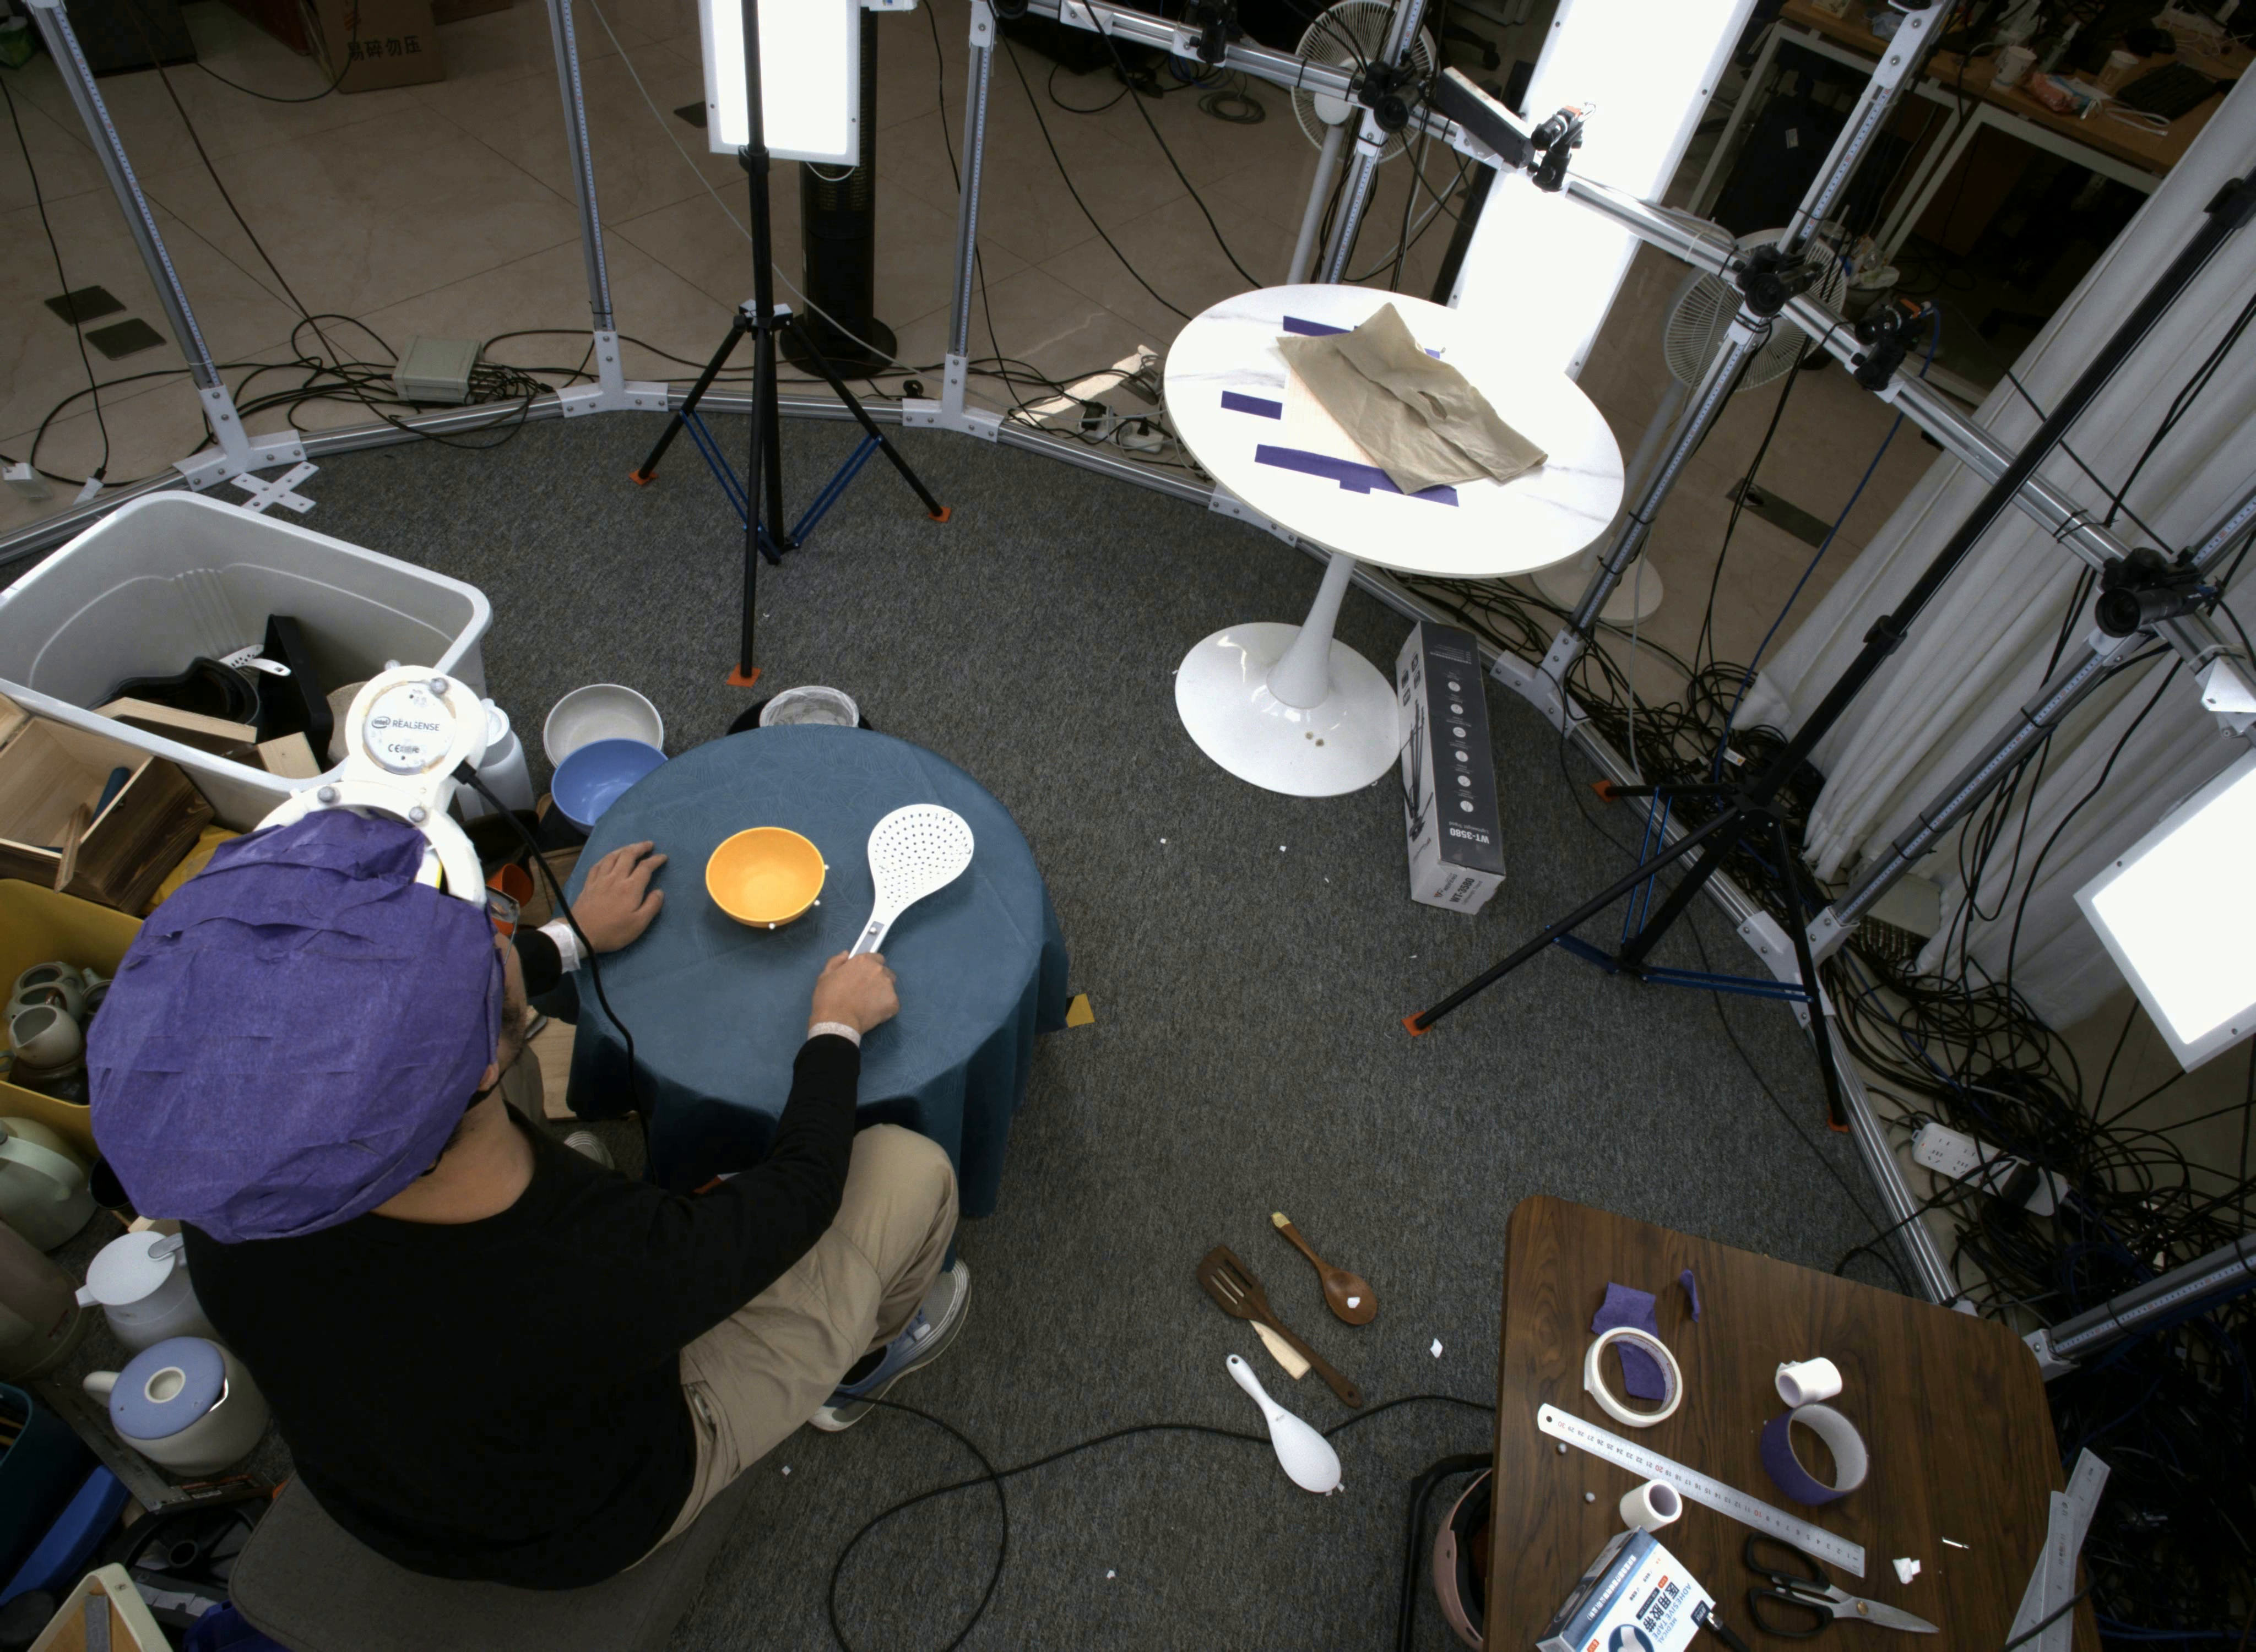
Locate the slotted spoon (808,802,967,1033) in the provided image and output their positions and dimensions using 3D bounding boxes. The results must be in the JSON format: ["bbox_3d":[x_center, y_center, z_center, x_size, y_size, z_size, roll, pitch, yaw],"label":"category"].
[{"bbox_3d":[-0.311,0.108,1.633,0.134,0.047,0.346,18,50,6],"label":"slotted spoon"}]

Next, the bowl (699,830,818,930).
[{"bbox_3d":[-0.459,0.077,1.615,0.145,0.061,0.142,8,50,-8],"label":"bowl"}]
